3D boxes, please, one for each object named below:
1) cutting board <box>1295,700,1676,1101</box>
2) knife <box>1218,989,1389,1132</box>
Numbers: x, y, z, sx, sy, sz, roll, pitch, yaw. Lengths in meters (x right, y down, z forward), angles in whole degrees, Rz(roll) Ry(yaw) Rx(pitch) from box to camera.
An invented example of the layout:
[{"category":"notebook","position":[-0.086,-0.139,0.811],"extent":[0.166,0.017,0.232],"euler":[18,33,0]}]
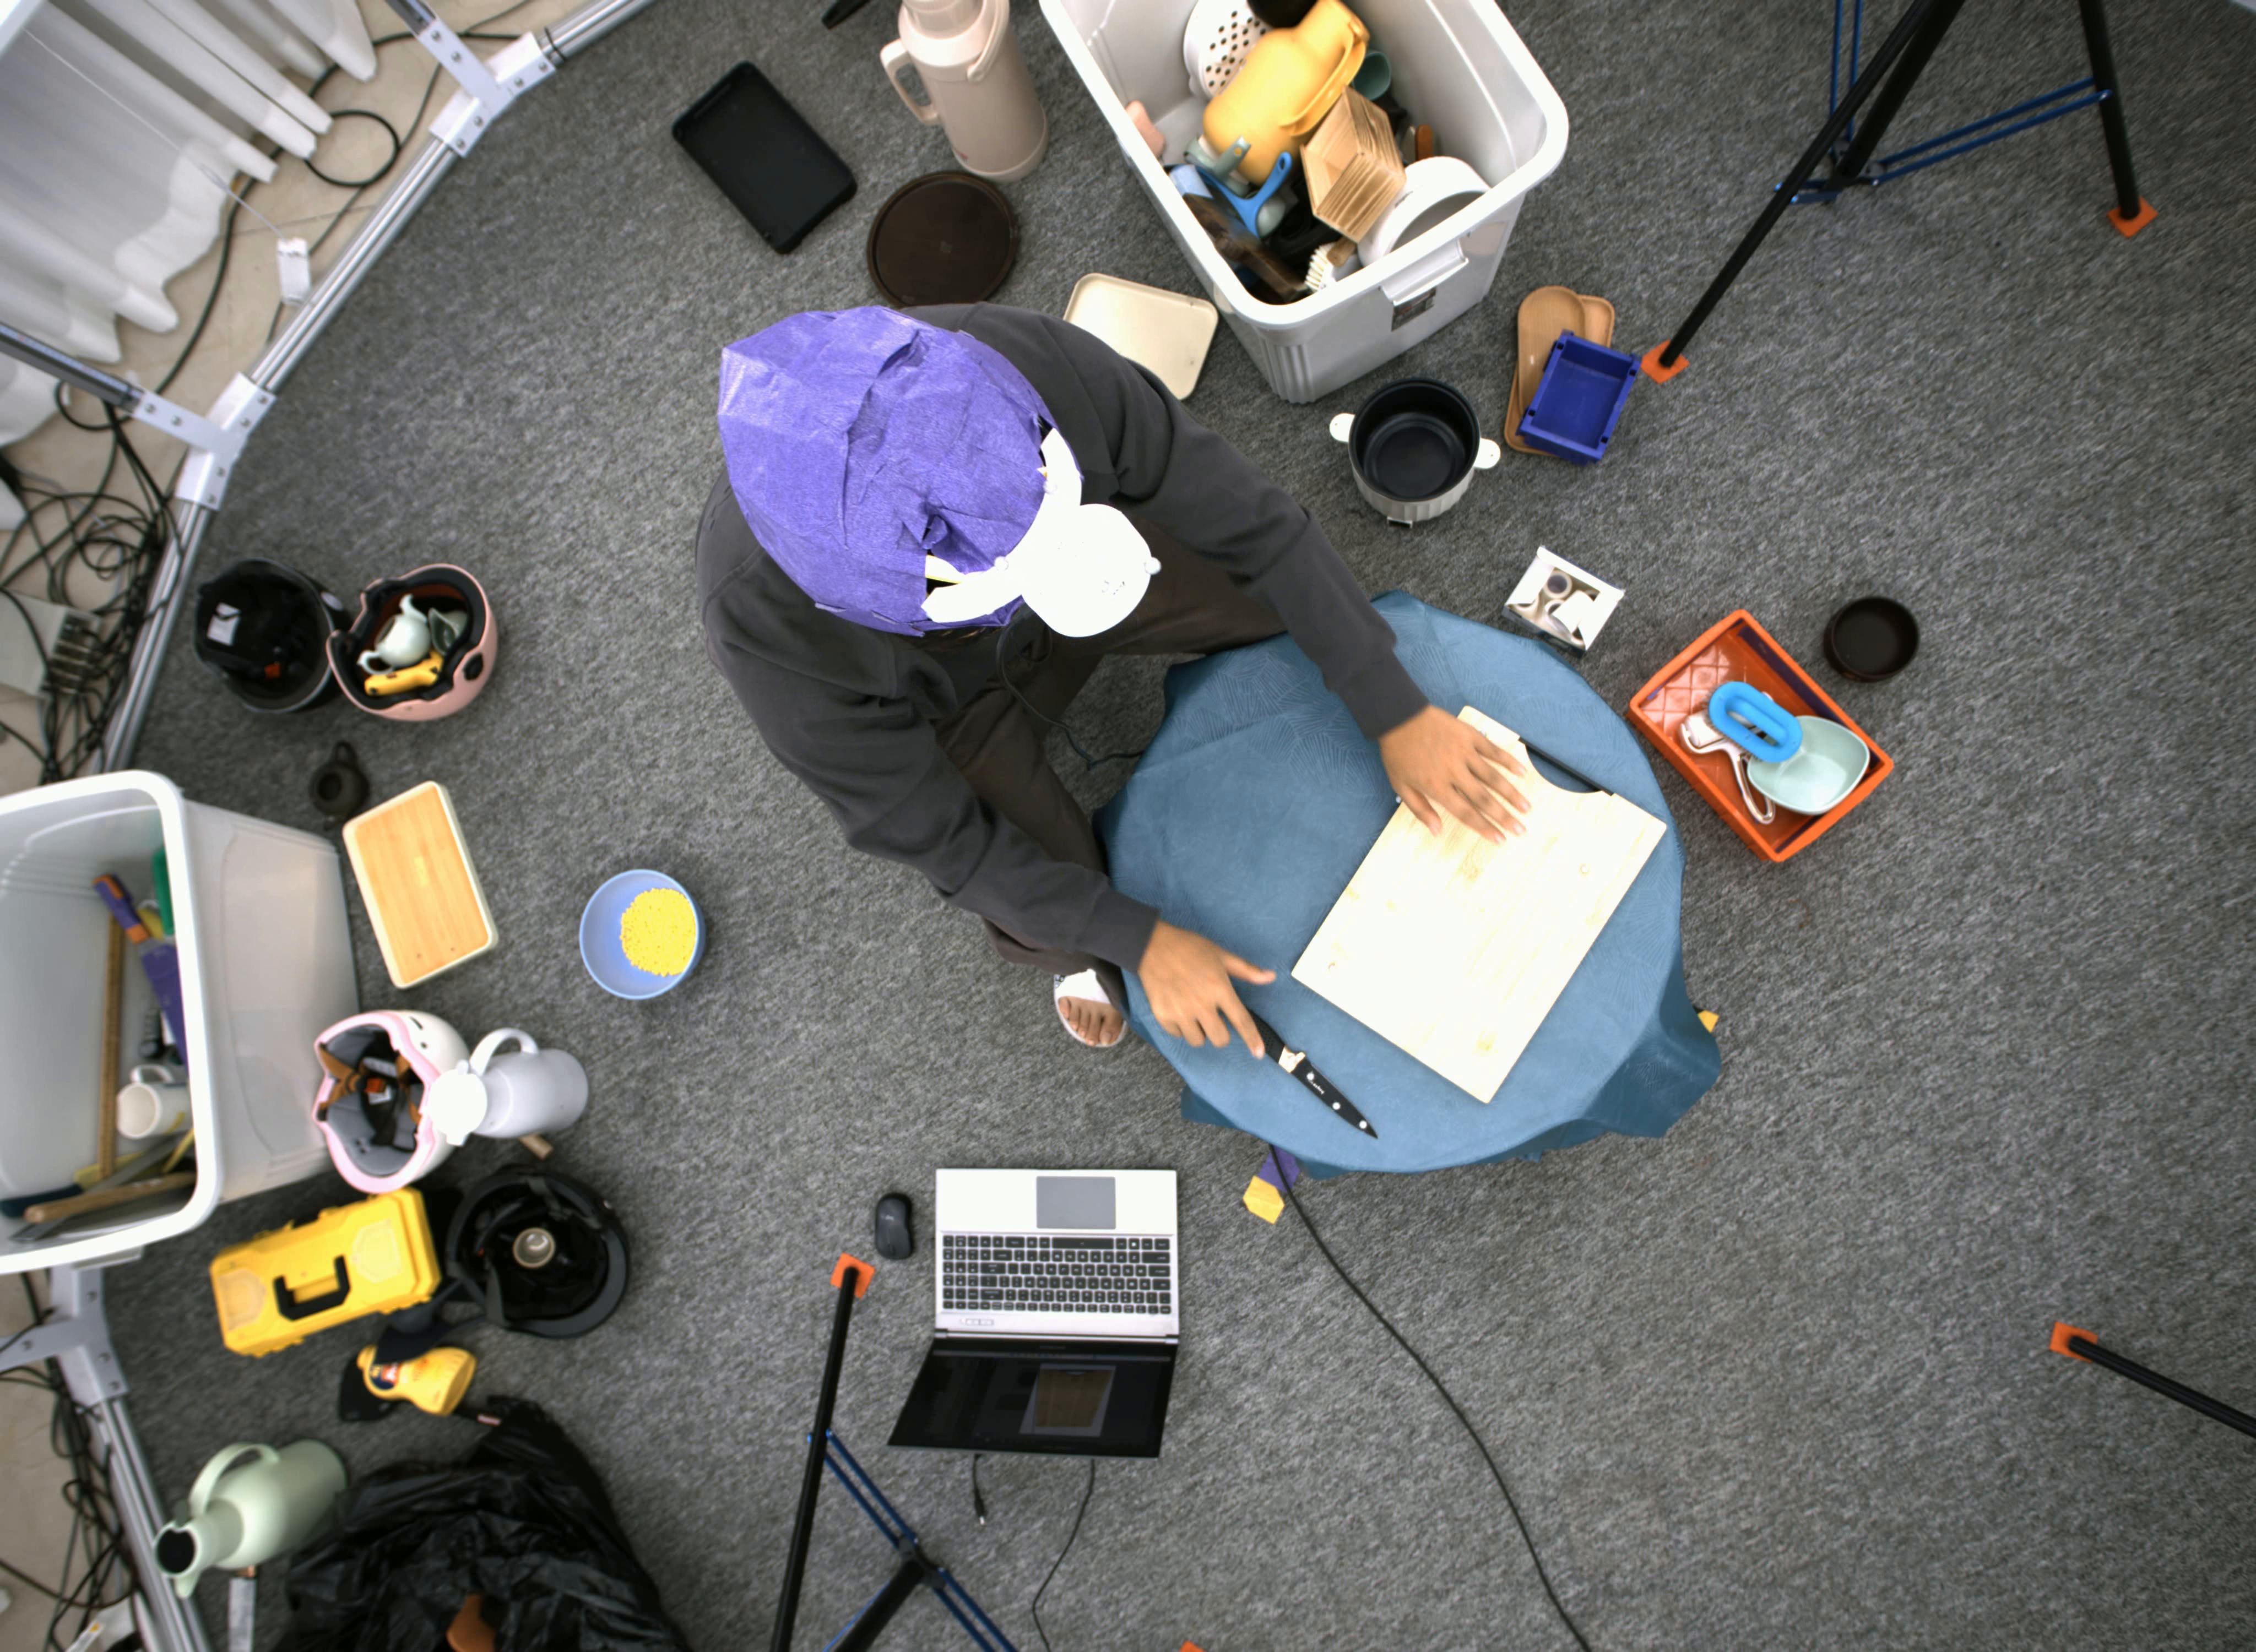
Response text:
[{"category":"cutting board","position":[0.367,0.073,1.434],"extent":[0.250,0.023,0.349],"euler":[32,93,11]},{"category":"knife","position":[0.184,0.248,1.462],"extent":[0.224,0.017,0.026],"euler":[41,87,10]}]
